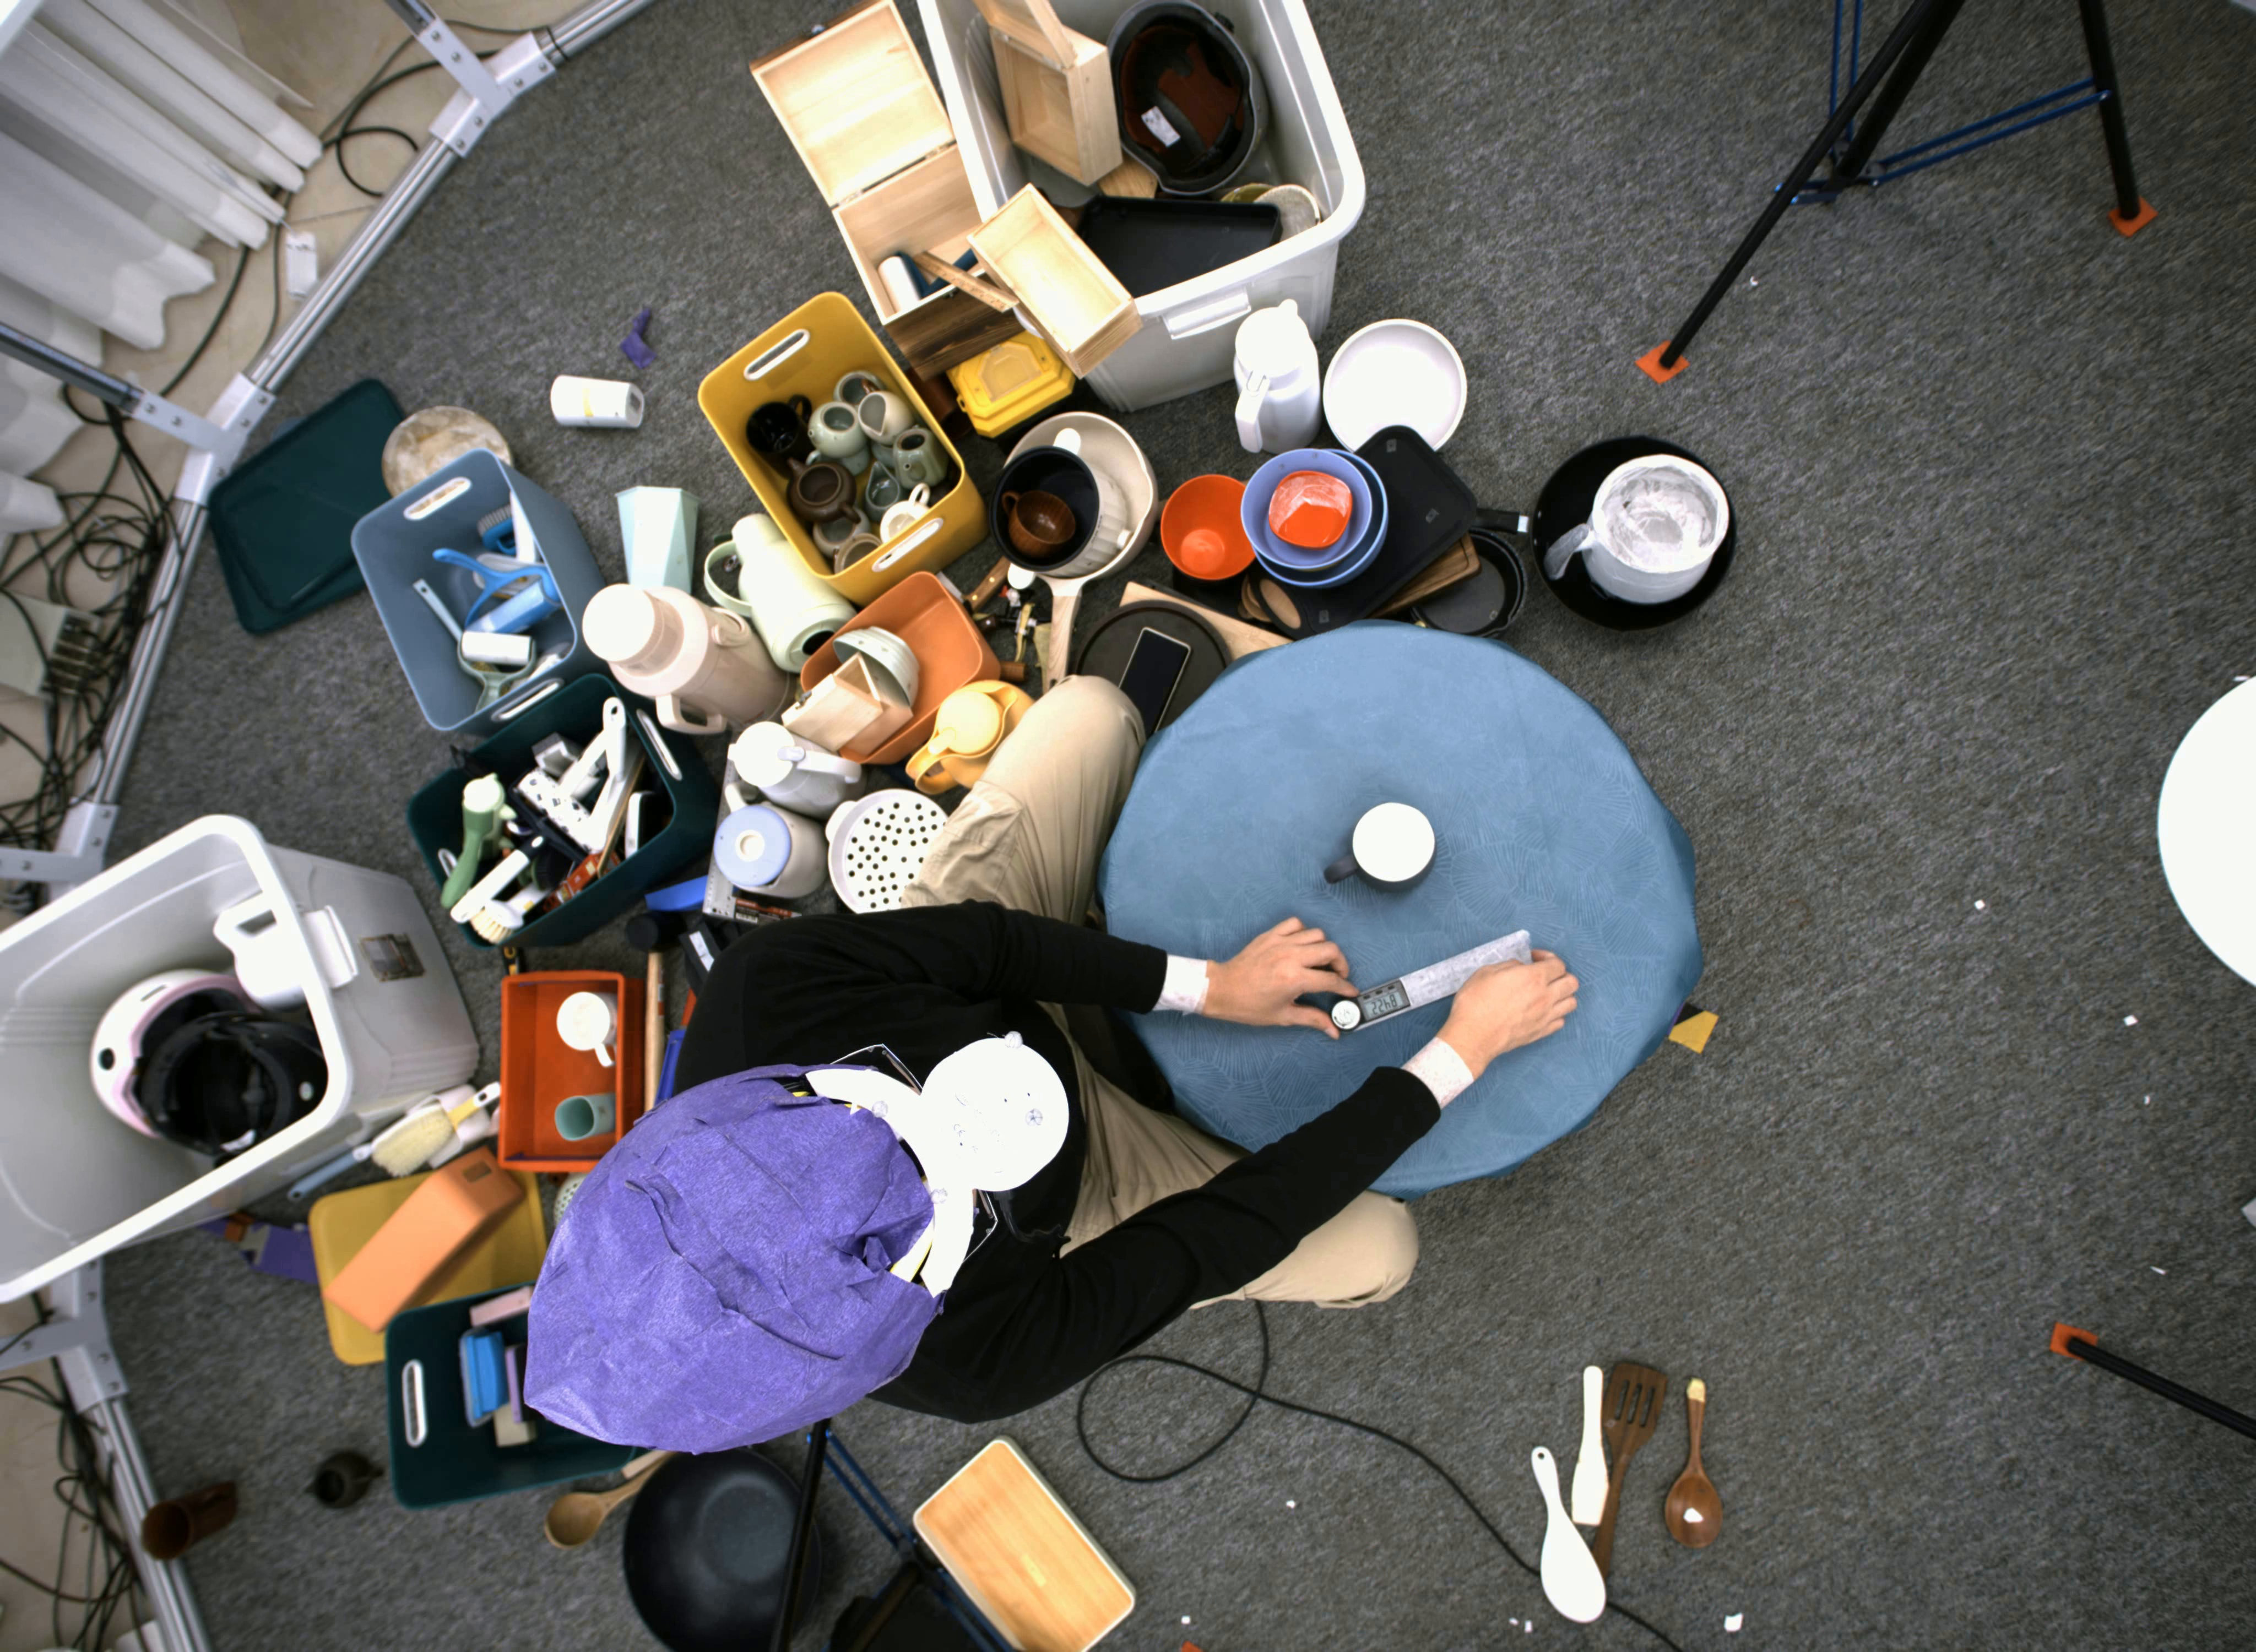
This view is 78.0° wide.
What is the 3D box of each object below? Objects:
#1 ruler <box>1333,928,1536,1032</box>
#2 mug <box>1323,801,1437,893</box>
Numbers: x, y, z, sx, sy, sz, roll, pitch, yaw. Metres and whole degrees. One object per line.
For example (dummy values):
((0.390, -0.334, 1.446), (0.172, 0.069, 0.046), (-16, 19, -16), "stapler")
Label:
((0.316, 0.161, 1.433), (0.219, 0.024, 0.038), (-23, 84, 10), "ruler")
((0.257, 0.024, 1.418), (0.124, 0.090, 0.093), (-24, 81, 7), "mug")
